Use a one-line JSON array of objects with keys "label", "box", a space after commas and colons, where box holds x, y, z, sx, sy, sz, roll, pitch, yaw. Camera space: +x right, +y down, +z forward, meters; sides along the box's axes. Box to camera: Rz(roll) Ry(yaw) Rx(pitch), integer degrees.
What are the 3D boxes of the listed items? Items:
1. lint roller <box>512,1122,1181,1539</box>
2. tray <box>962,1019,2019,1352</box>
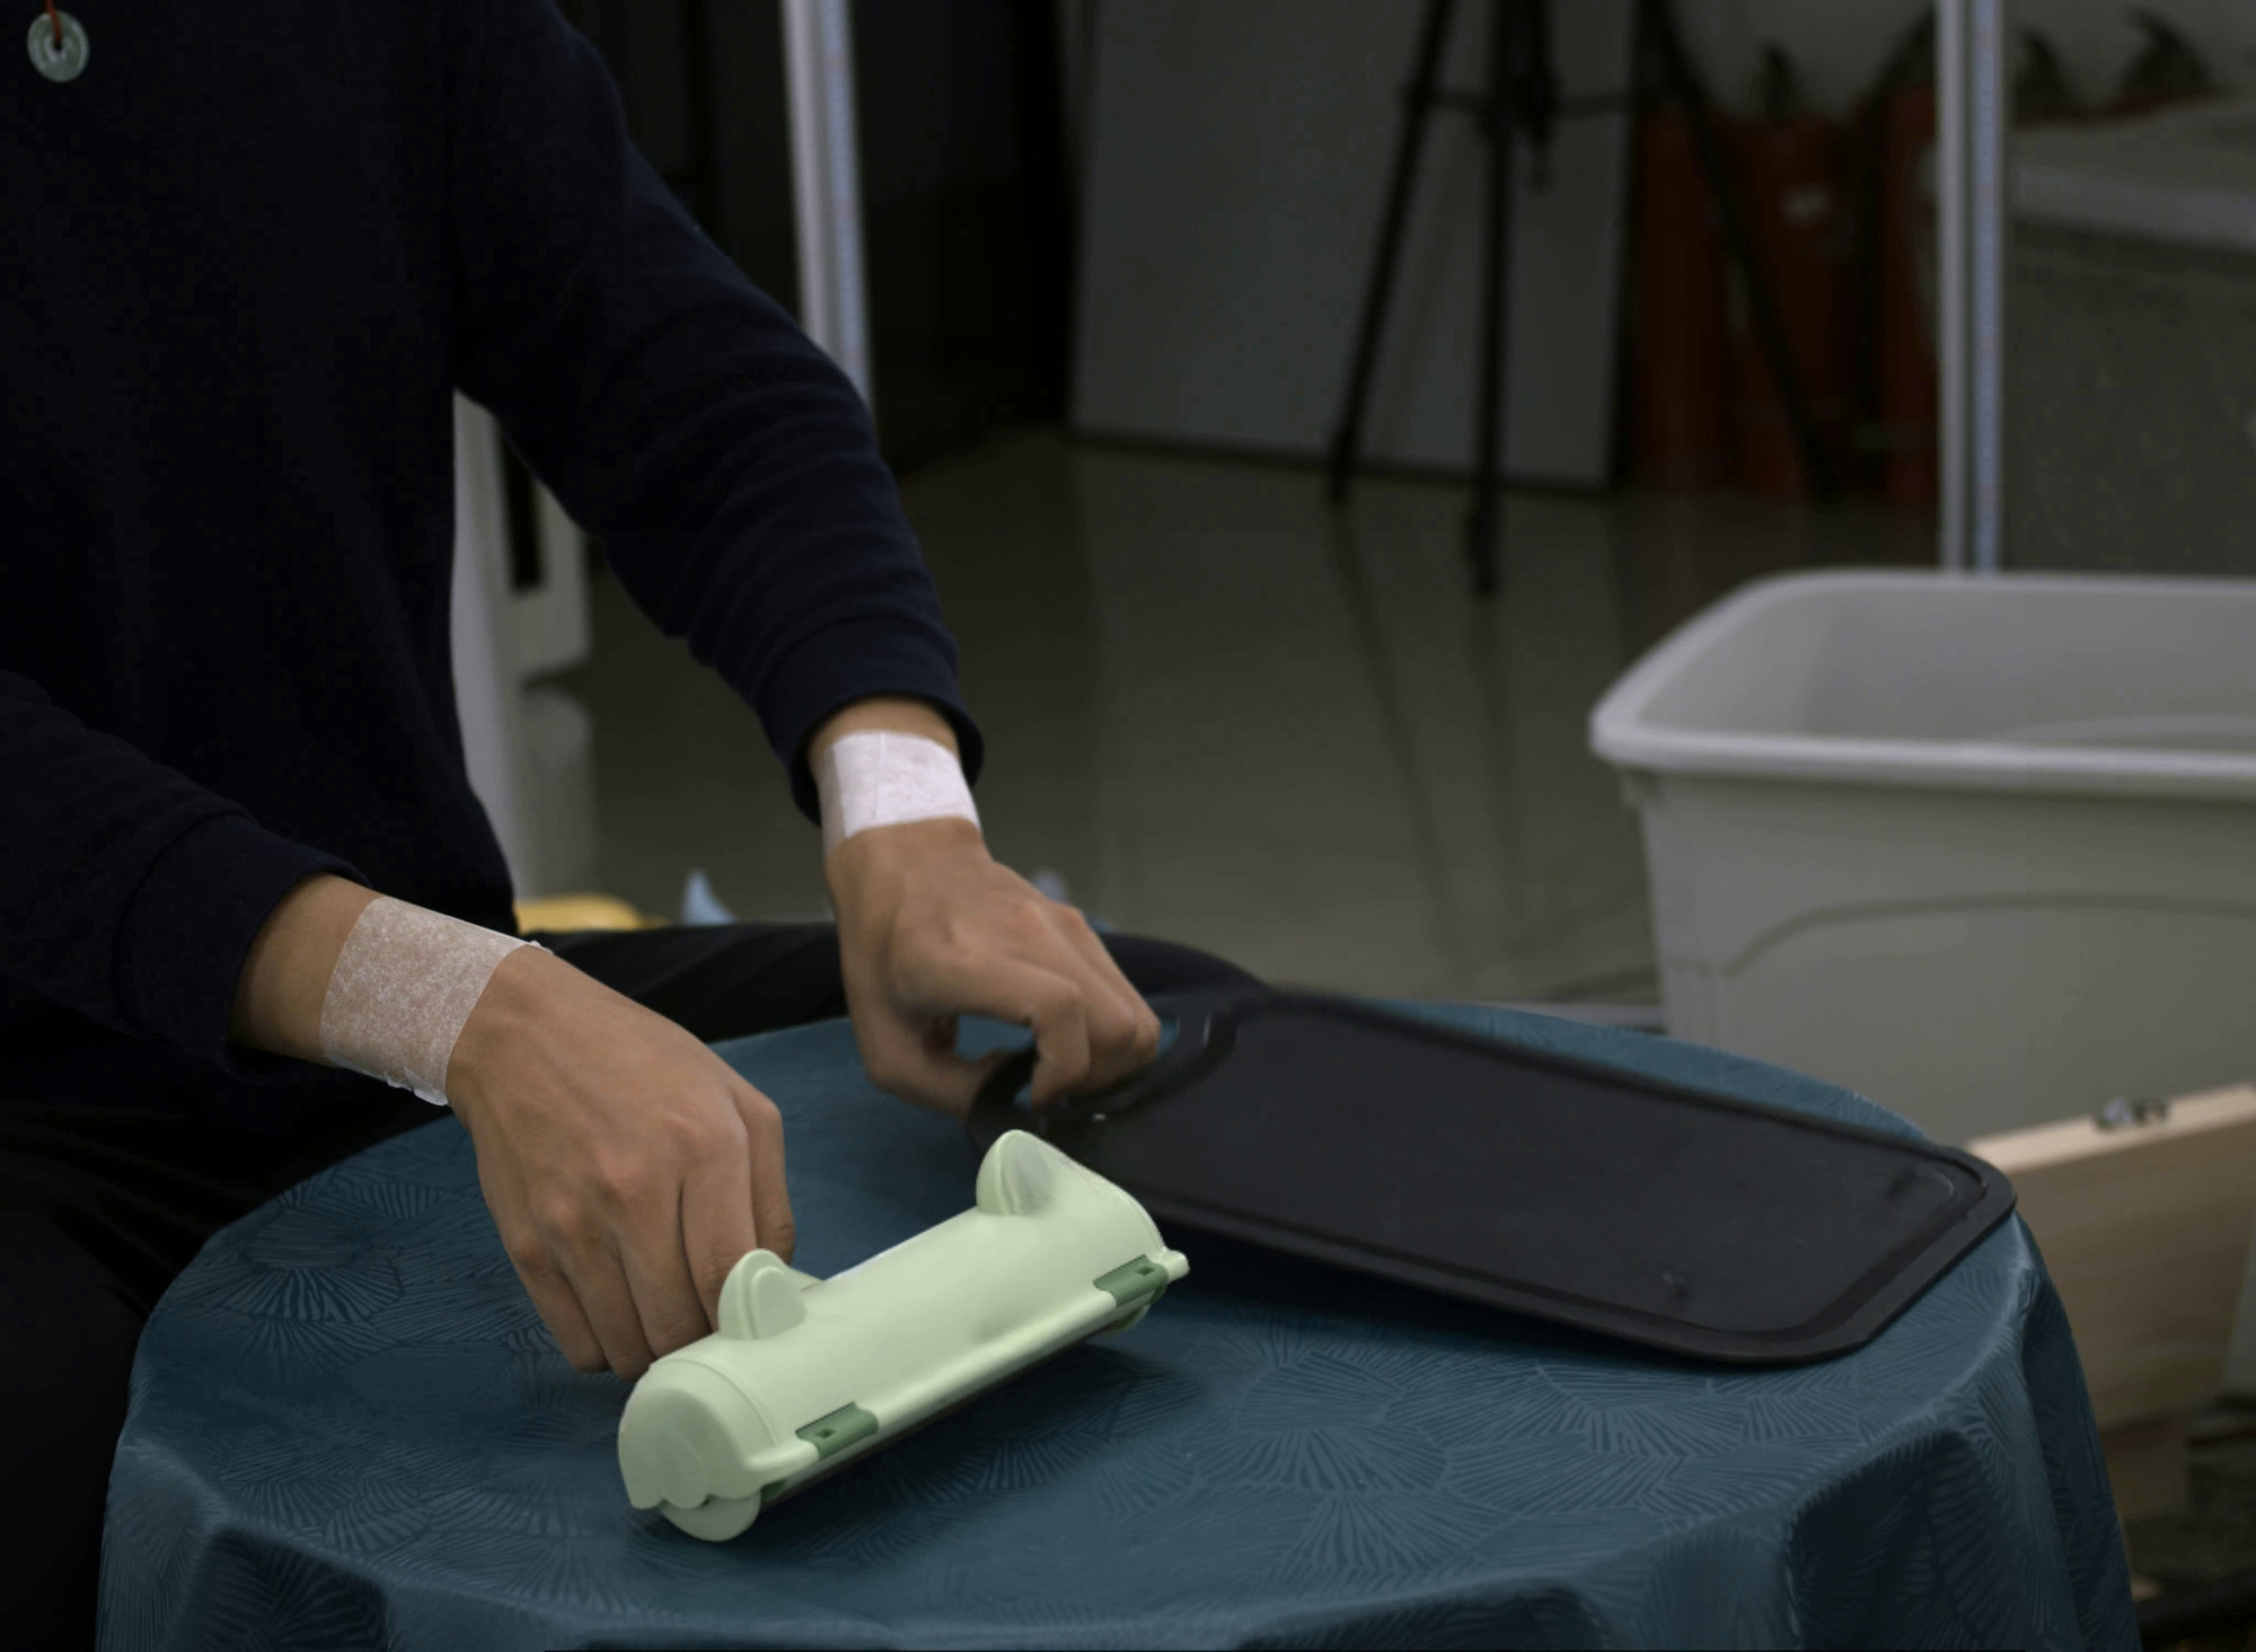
[{"label": "lint roller", "box": [-0.108, 0.123, 1.579, 0.184, 0.083, 0.195, 23, 27, 31]}, {"label": "tray", "box": [0.108, 0.108, 1.711, 0.326, 0.010, 0.208, 10, 18, 28]}]
